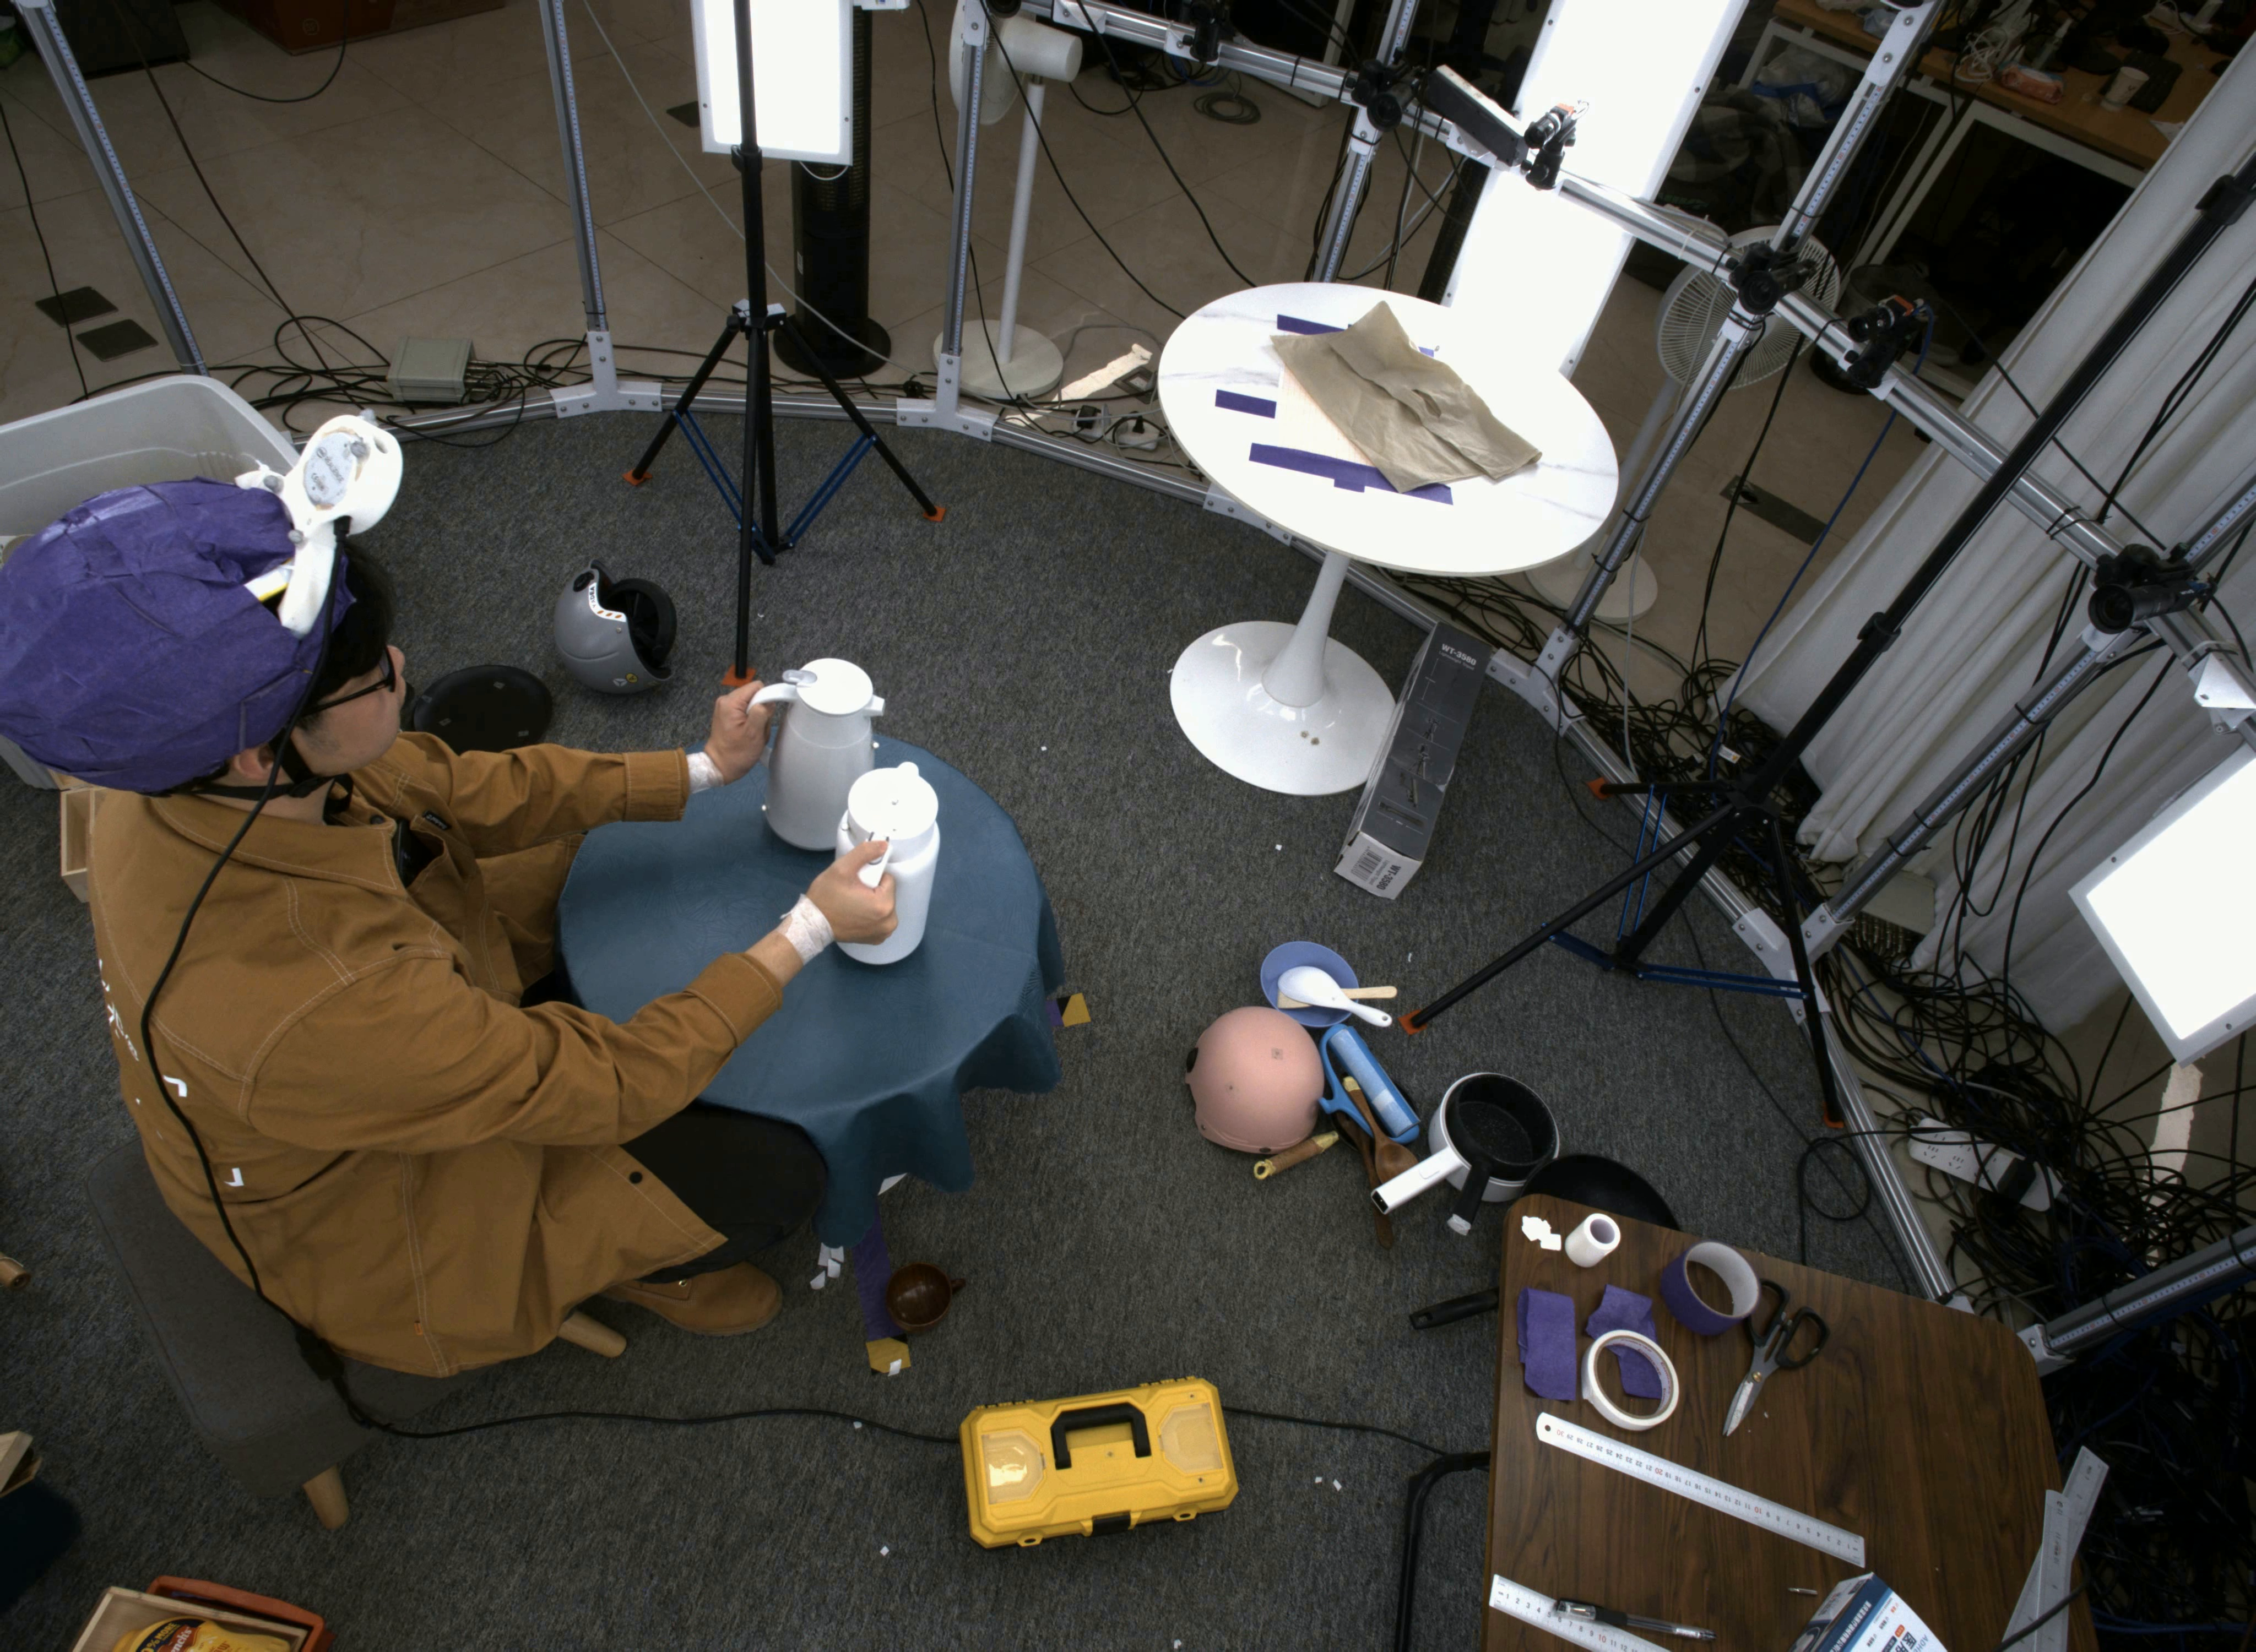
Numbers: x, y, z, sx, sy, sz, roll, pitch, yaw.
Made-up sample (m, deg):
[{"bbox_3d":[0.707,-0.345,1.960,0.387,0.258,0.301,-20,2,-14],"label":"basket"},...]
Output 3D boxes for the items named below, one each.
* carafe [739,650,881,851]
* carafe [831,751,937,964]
[{"bbox_3d":[-0.400,-0.103,1.612,0.168,0.253,0.130,10,48,-11],"label":"carafe"},{"bbox_3d":[-0.289,0.058,1.514,0.123,0.273,0.170,16,52,-5],"label":"carafe"}]
